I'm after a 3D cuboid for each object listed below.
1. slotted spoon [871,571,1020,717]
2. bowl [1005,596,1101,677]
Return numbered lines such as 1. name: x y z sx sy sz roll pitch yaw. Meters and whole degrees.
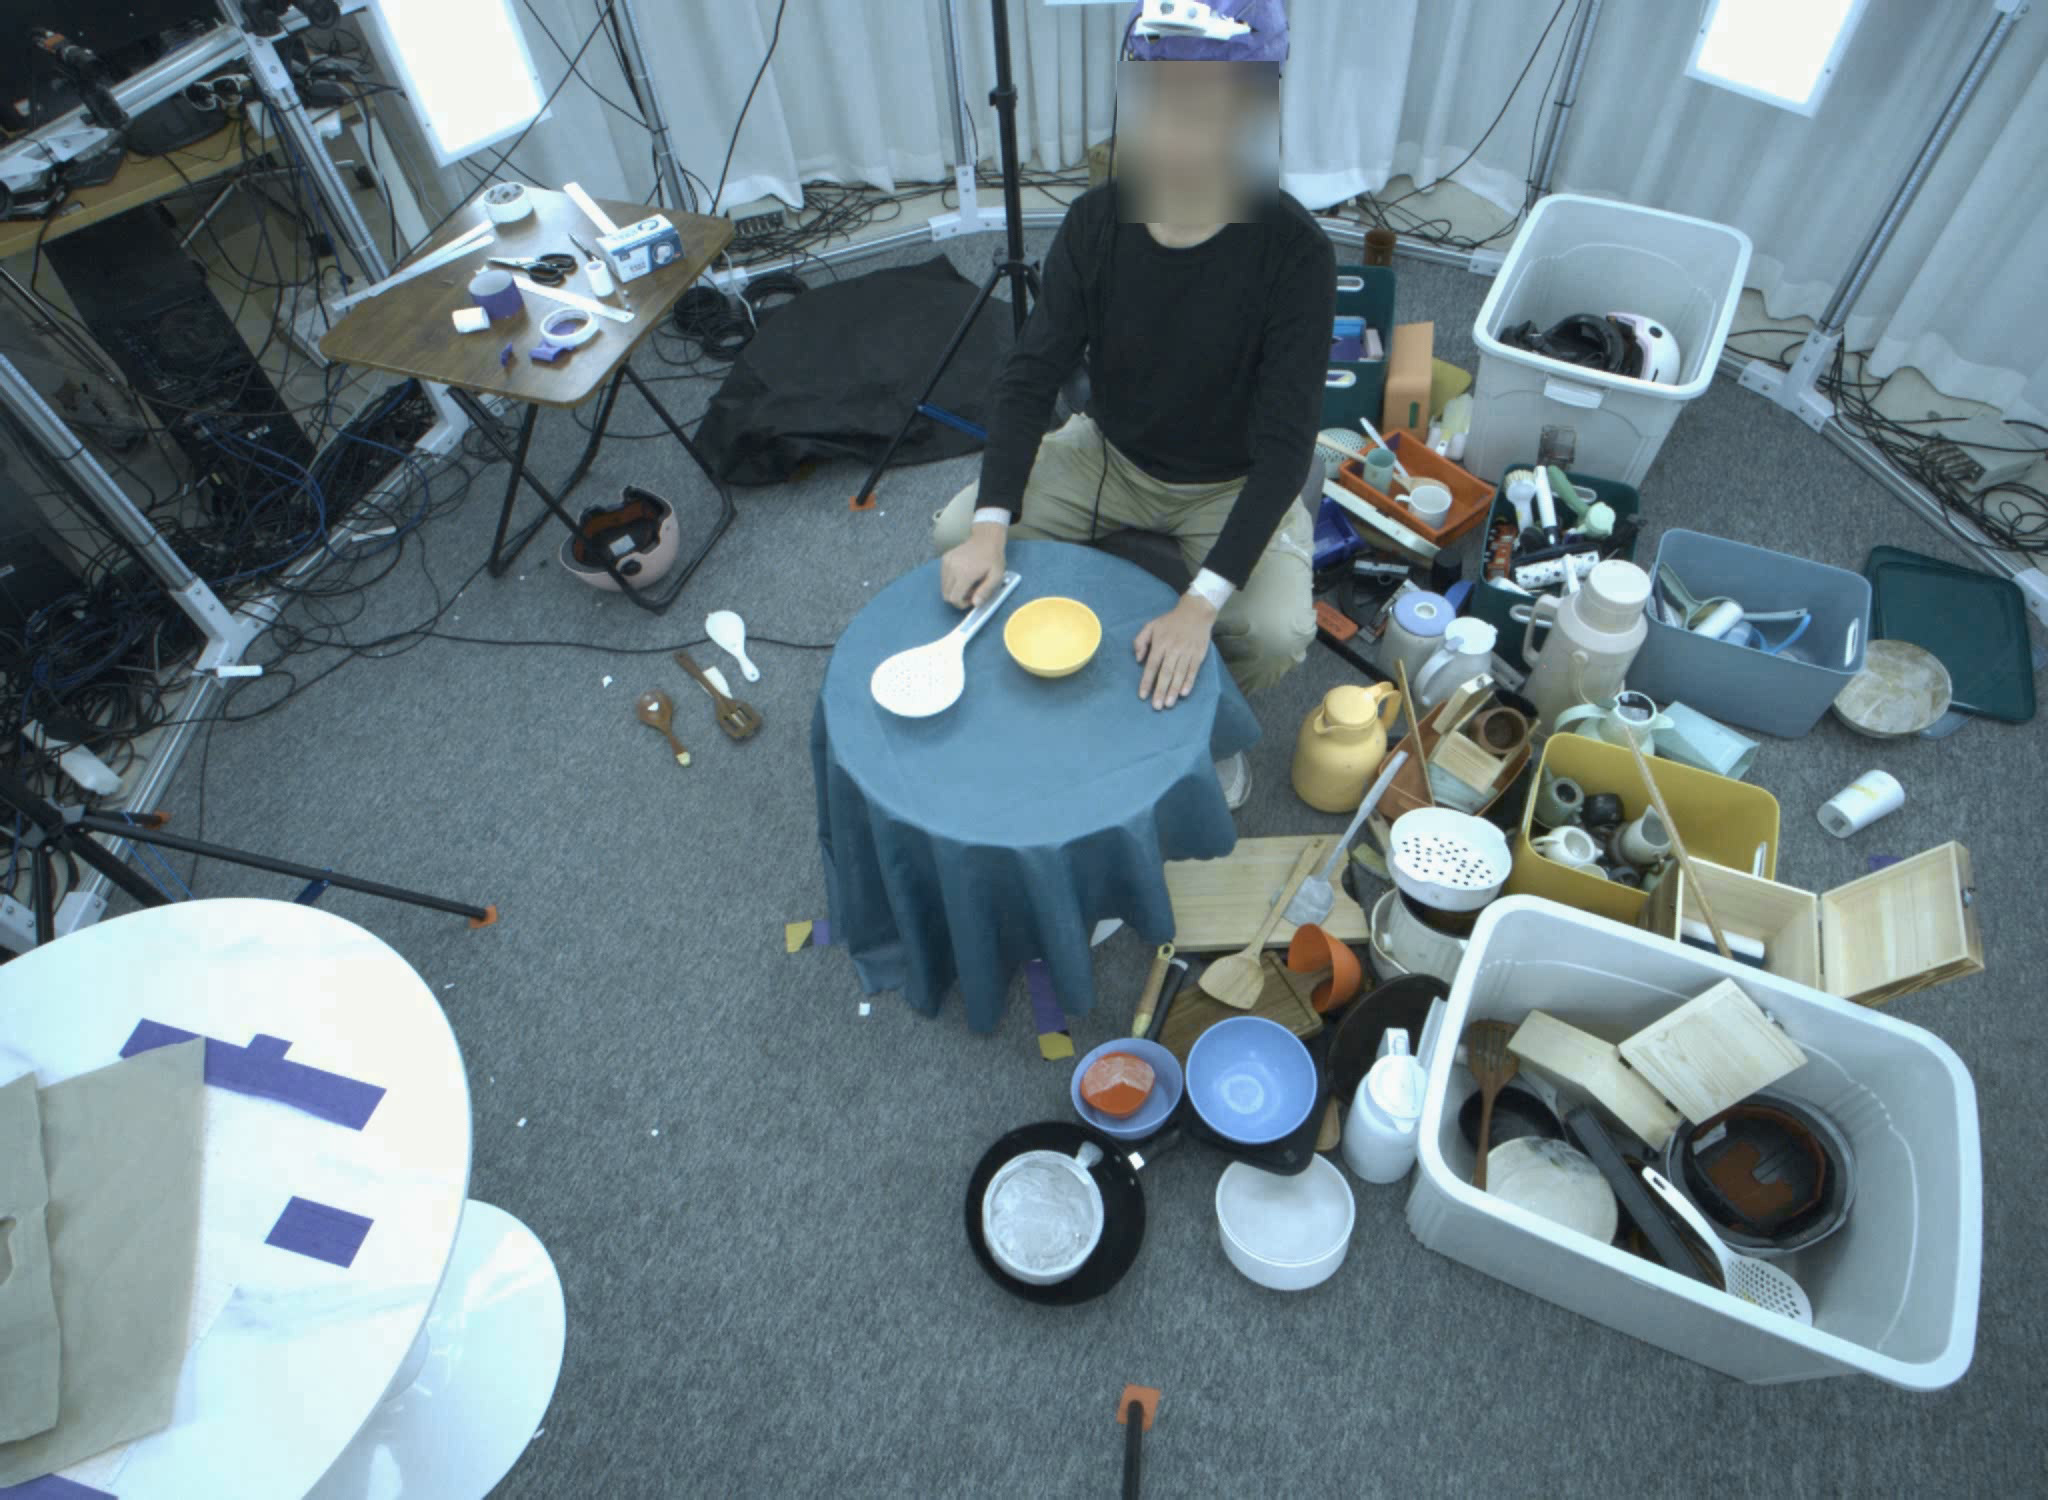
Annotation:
1. slotted spoon: -0.105 -0.167 1.881 0.134 0.046 0.350 23 58 19
2. bowl: 0.045 -0.161 1.866 0.145 0.061 0.144 -1 57 2
